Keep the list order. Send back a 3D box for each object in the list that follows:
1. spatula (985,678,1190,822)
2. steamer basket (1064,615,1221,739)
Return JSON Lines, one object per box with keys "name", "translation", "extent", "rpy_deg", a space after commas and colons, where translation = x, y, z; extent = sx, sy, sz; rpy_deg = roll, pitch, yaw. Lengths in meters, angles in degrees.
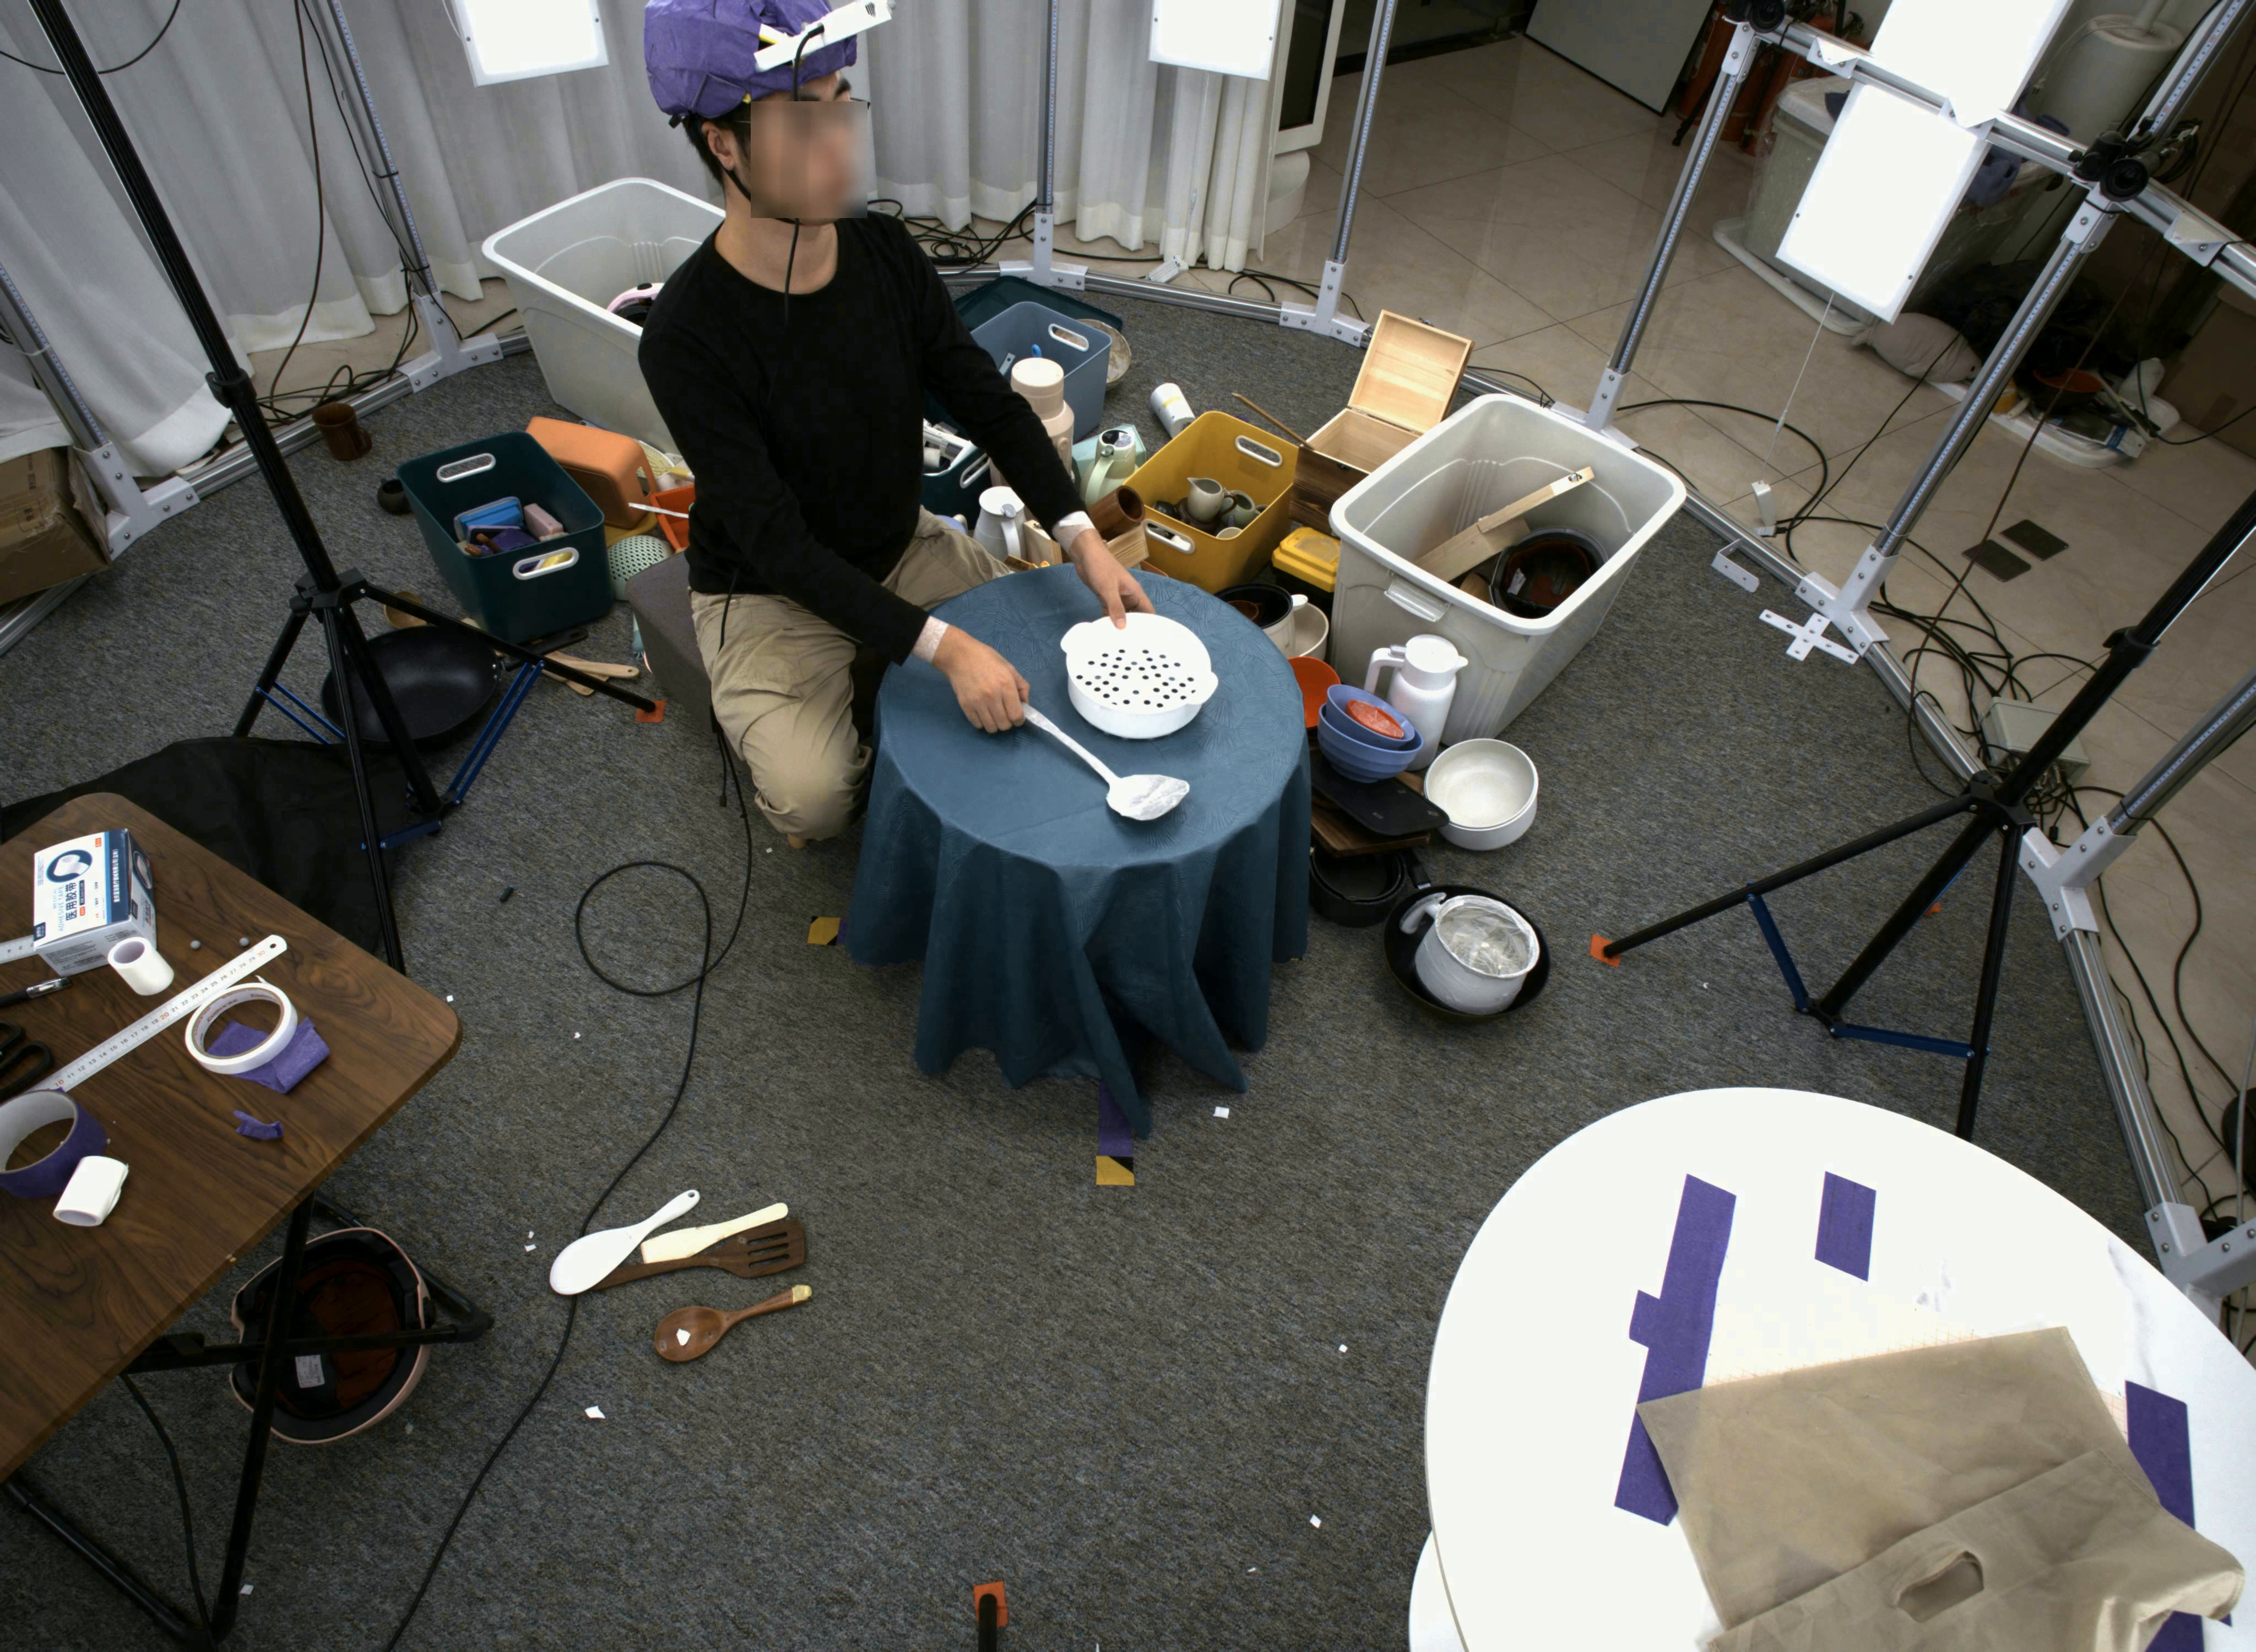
{"name": "spatula", "translation": [-0.074, -0.115, 1.738], "extent": [0.370, 0.044, 0.099], "rpy_deg": [38, 58, 24]}
{"name": "steamer basket", "translation": [0.018, -0.209, 1.808], "extent": [0.232, 0.067, 0.205], "rpy_deg": [24, 51, 17]}
